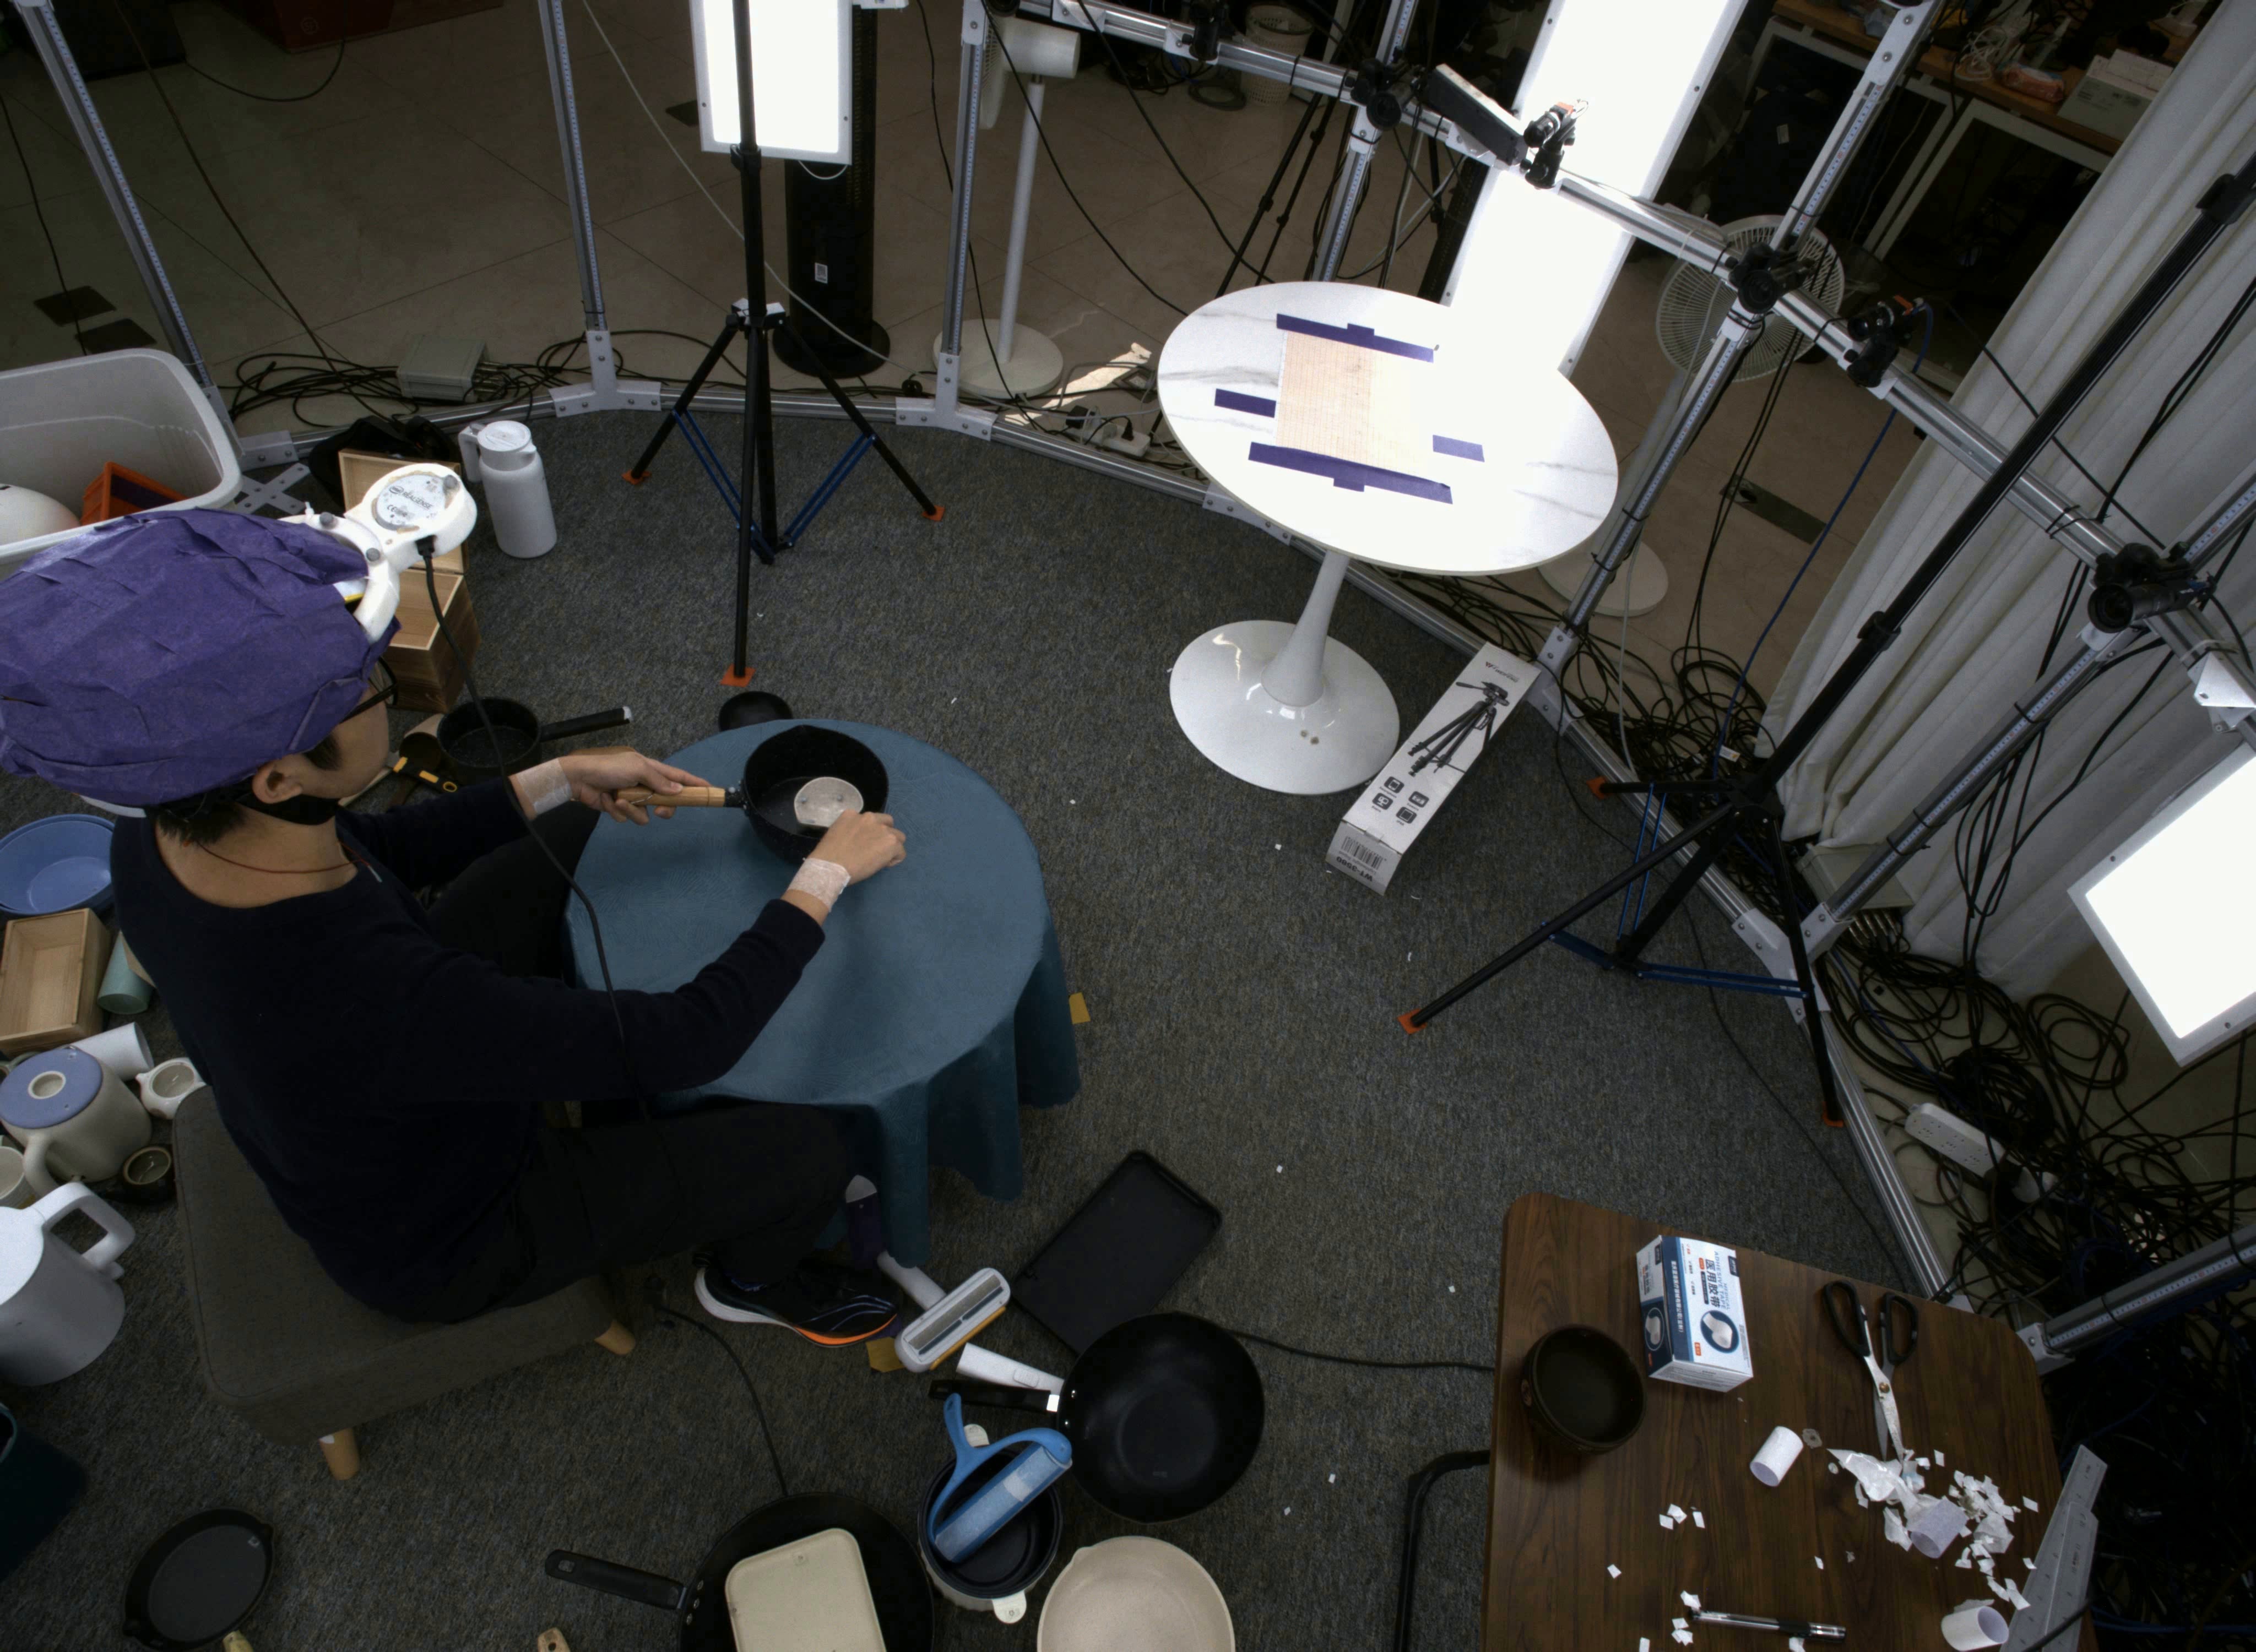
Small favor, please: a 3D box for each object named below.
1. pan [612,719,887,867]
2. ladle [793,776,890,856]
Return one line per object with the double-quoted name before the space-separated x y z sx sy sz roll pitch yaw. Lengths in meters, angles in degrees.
"pan" -0.478 -0.031 1.638 0.346 0.110 0.202 -7 57 -27
"ladle" -0.340 -0.016 1.582 0.090 0.266 0.071 -11 102 -26
